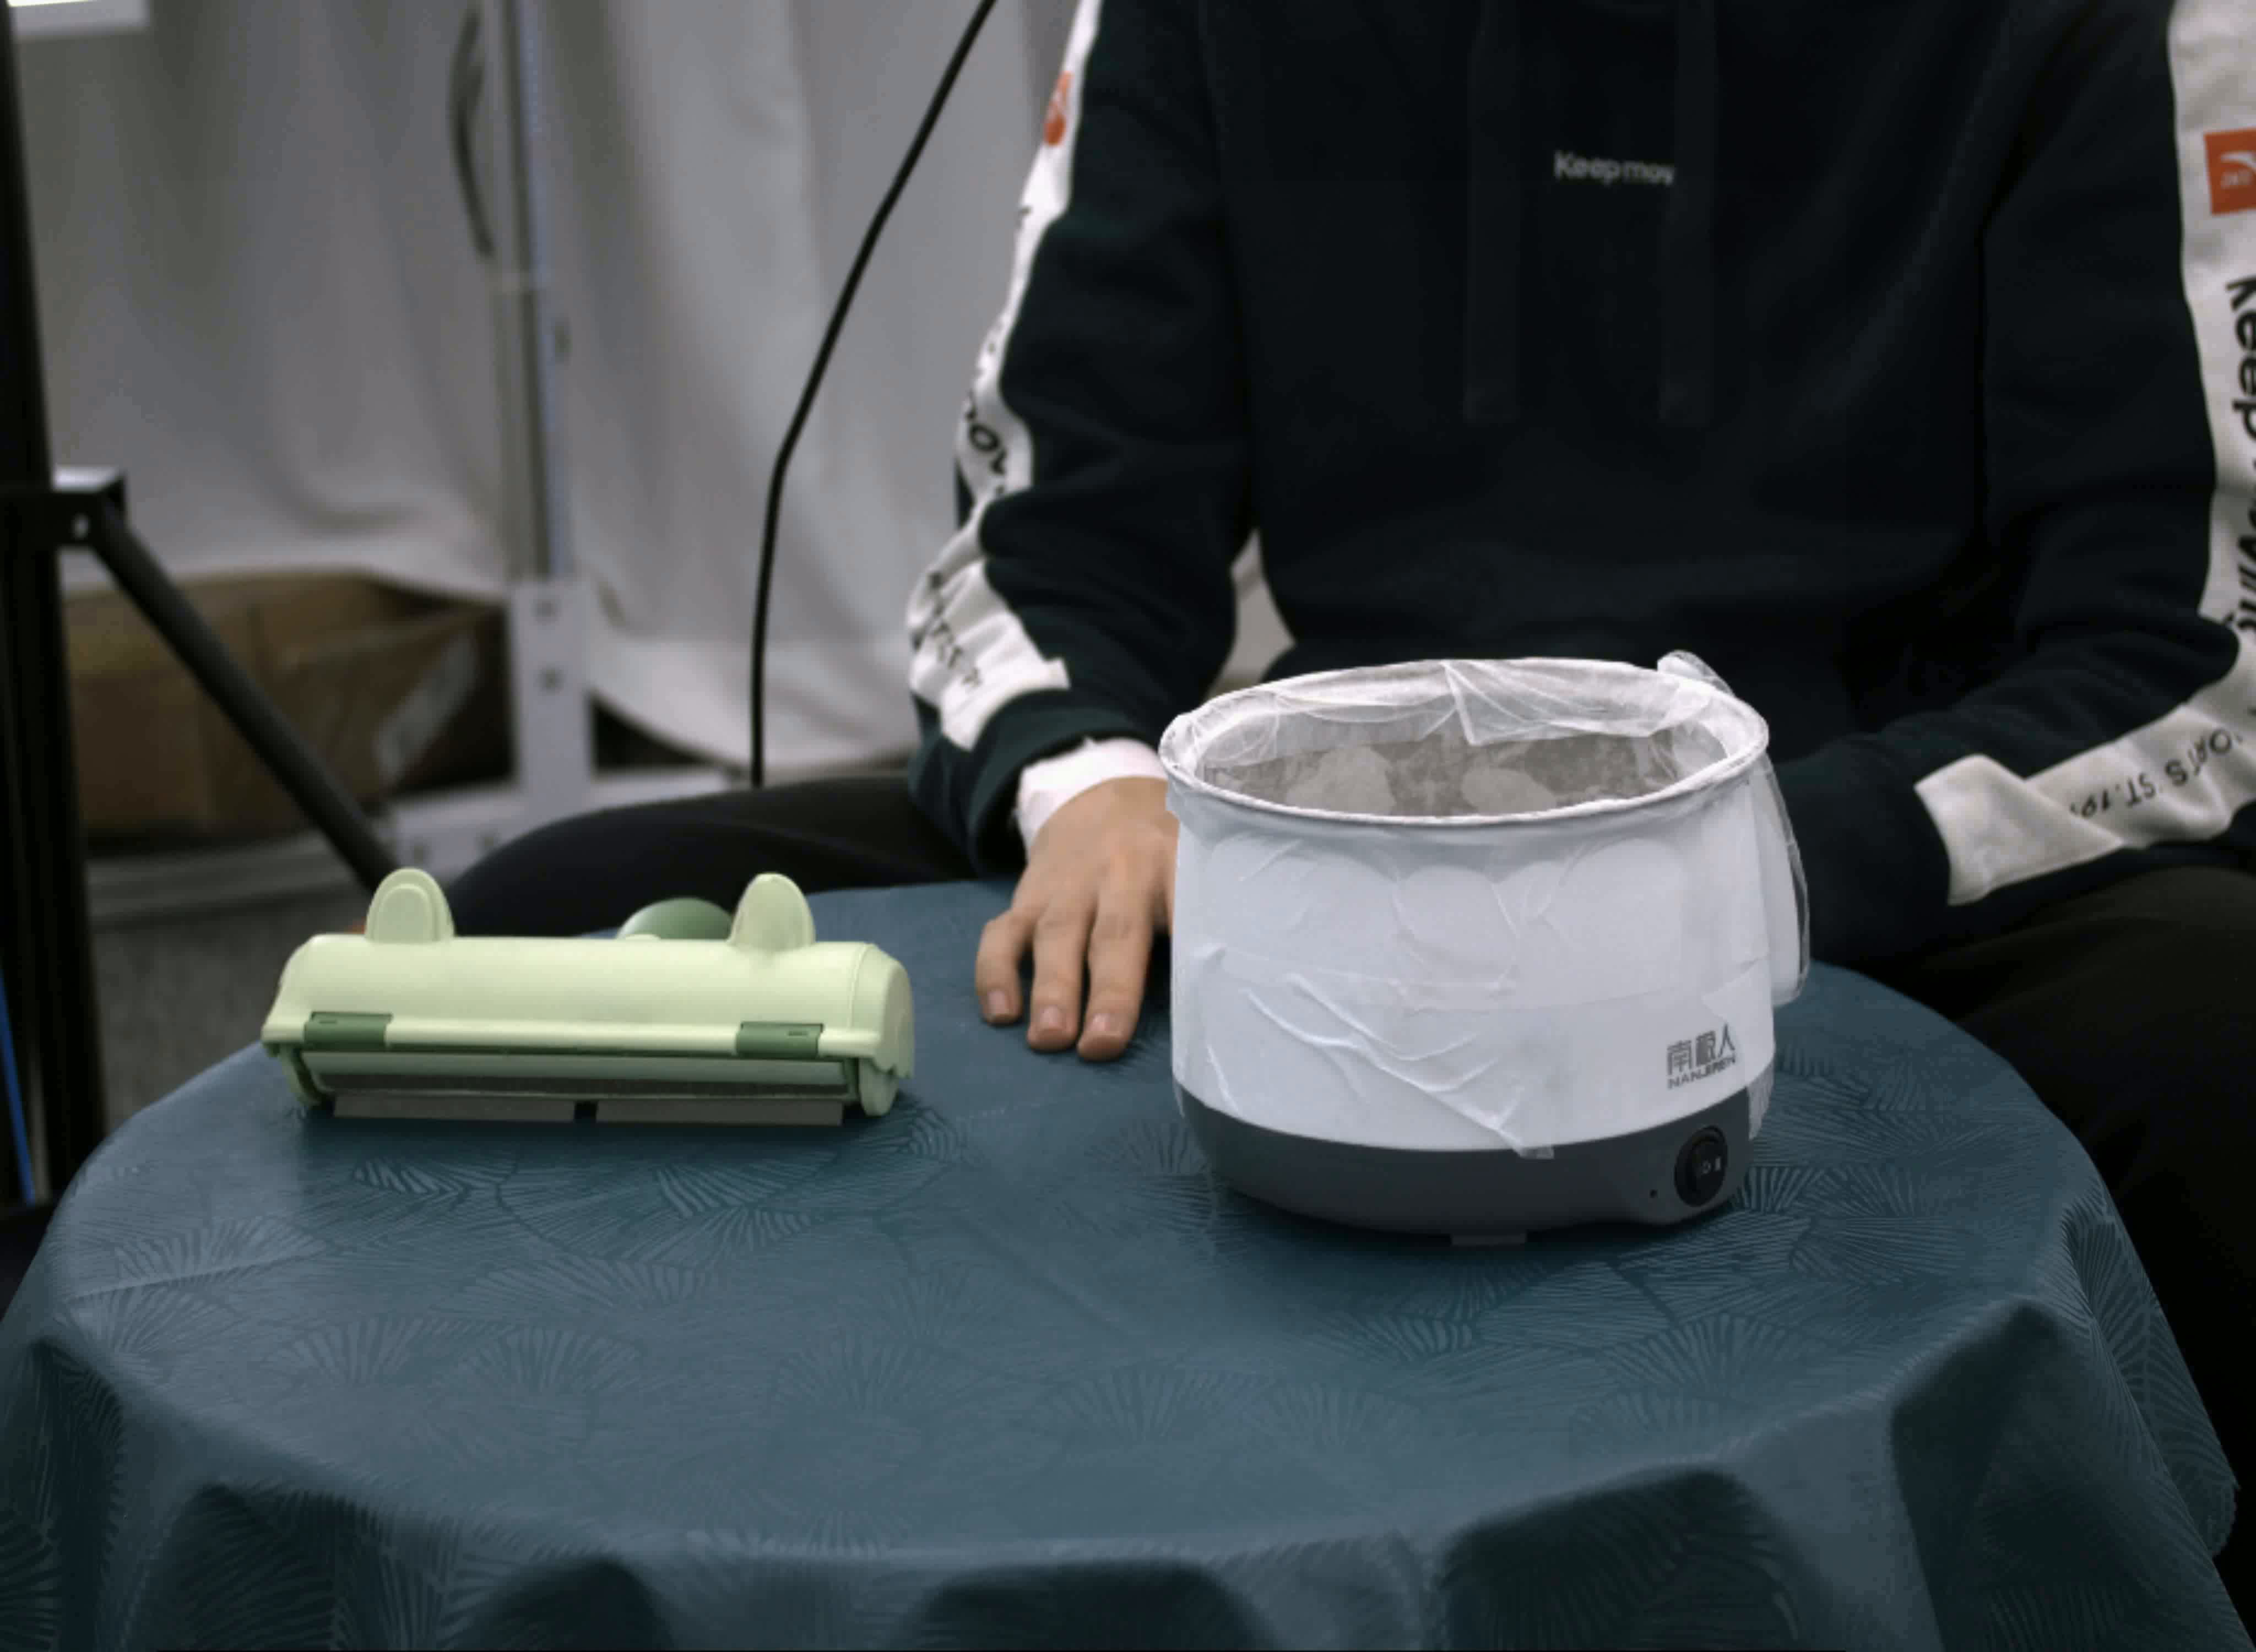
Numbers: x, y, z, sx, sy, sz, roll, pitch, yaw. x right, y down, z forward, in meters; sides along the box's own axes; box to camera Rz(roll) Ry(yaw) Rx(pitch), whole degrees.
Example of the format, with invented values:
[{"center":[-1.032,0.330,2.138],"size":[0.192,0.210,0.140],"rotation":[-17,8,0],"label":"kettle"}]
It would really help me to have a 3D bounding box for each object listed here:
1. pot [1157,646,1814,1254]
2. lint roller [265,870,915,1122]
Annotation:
[{"center":[0.118,0.029,1.563],"size":[0.228,0.136,0.183],"rotation":[-19,23,-42],"label":"pot"},{"center":[-0.157,0.036,1.702],"size":[0.199,0.082,0.183],"rotation":[0,21,12],"label":"lint roller"}]
